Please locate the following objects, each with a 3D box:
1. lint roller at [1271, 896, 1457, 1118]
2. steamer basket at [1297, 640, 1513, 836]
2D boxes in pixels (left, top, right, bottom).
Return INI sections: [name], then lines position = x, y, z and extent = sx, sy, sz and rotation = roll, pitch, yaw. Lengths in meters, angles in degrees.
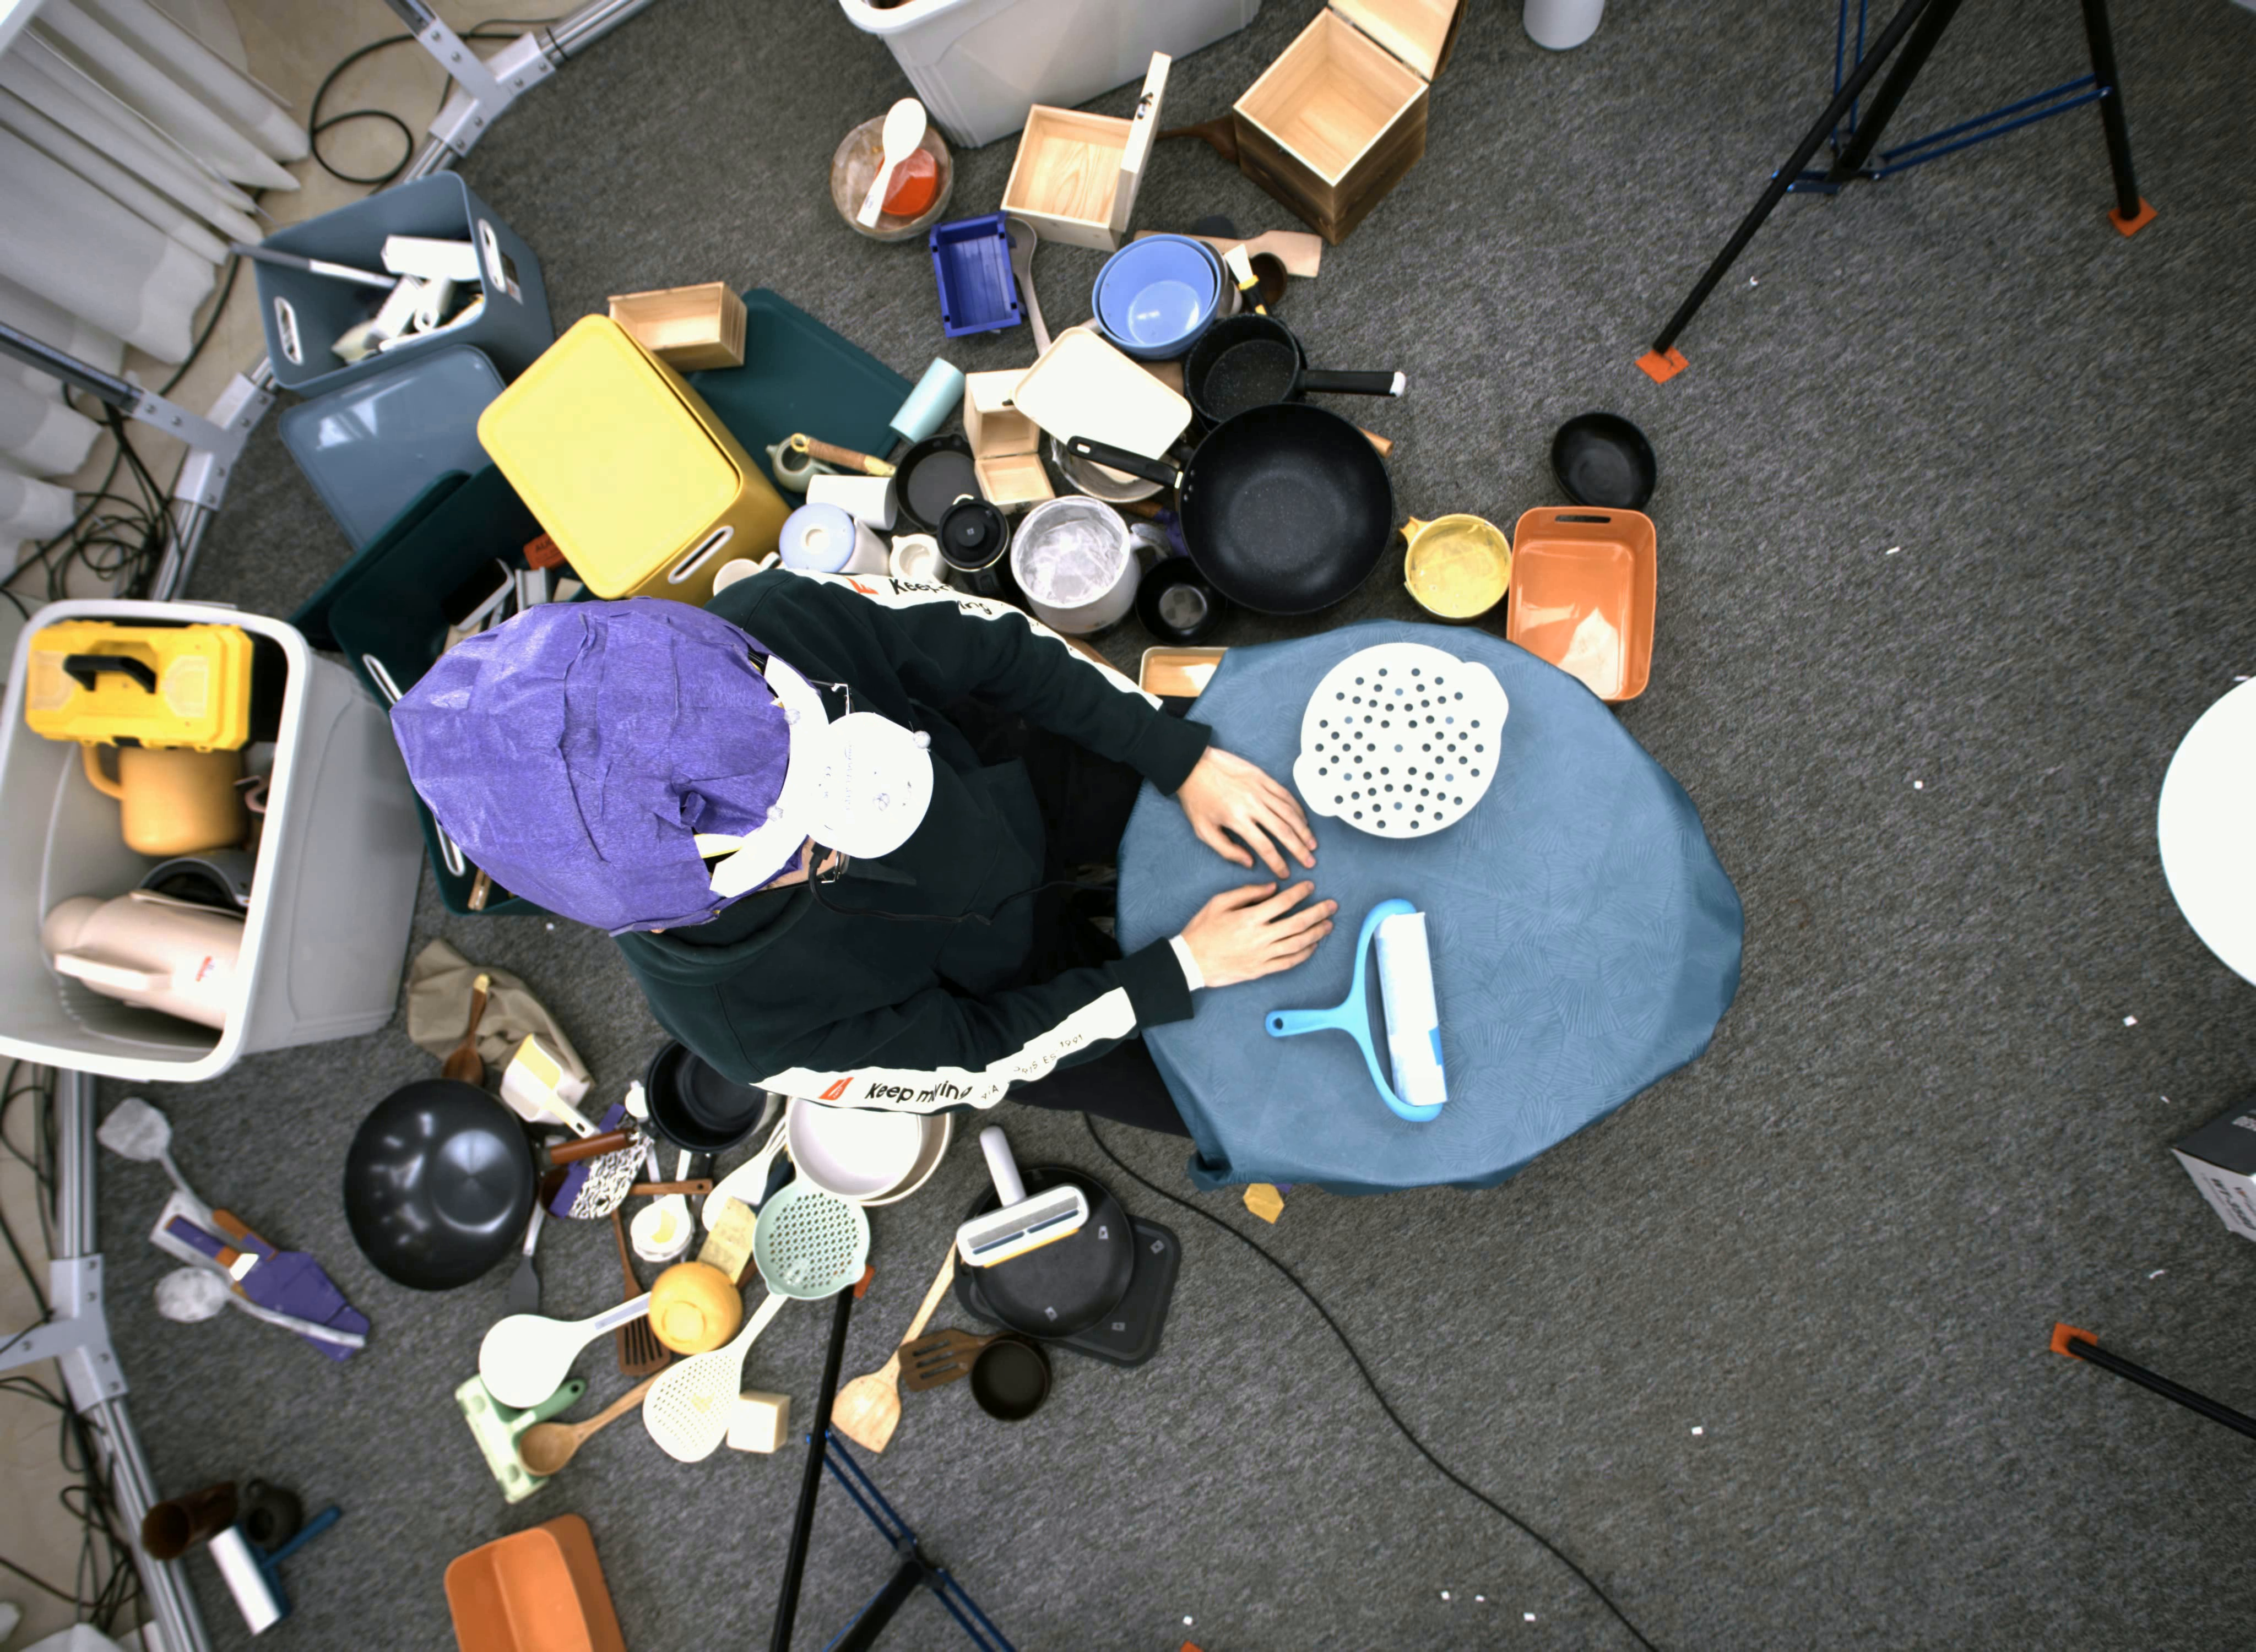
[lint roller]
position = 0.236, 0.196, 1.428
extent = 0.181, 0.068, 0.228
rotation = -12, 87, 9
[steamer basket]
position = 0.286, -0.090, 1.426
extent = 0.232, 0.069, 0.200
rotation = -29, 81, 9
